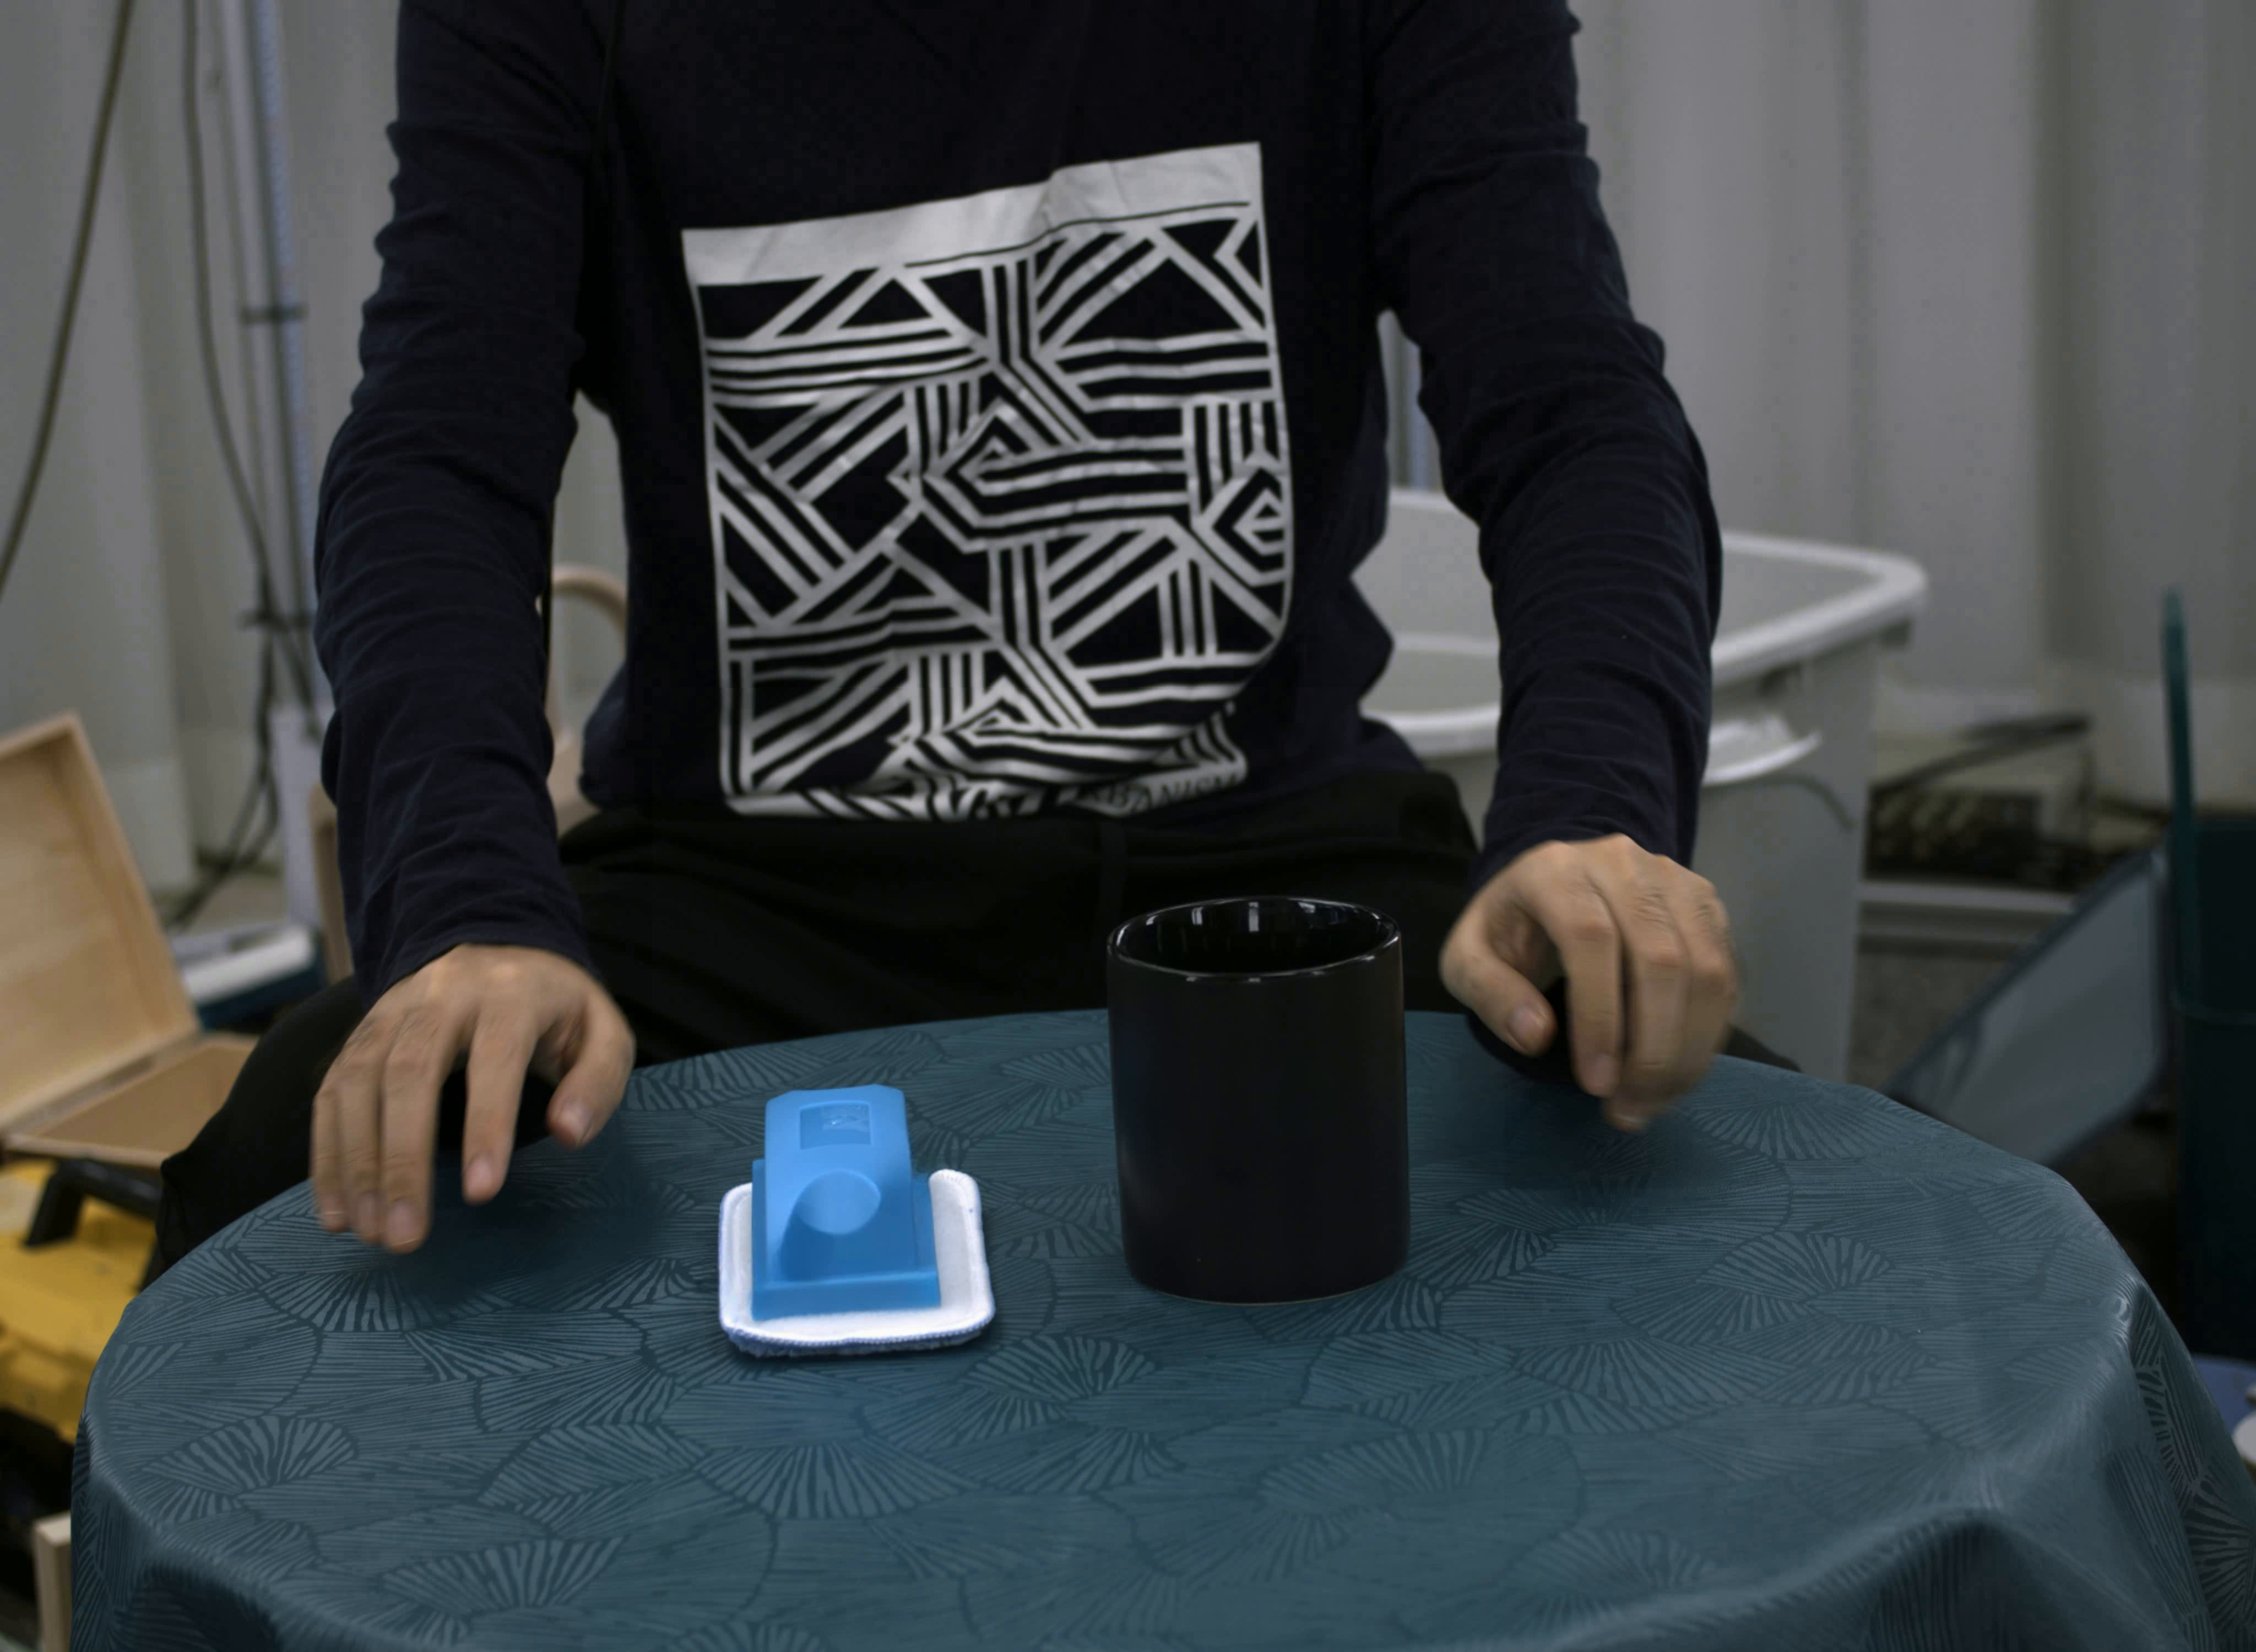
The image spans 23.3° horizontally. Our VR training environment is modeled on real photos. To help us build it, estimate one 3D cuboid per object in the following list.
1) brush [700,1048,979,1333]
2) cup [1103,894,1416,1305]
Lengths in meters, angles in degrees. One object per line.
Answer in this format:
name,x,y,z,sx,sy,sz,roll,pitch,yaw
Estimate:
brush,-0.086,0.107,1.645,0.083,0.055,0.145,0,17,-1
cup,0.041,0.077,1.653,0.088,0.105,0.124,-3,12,6
